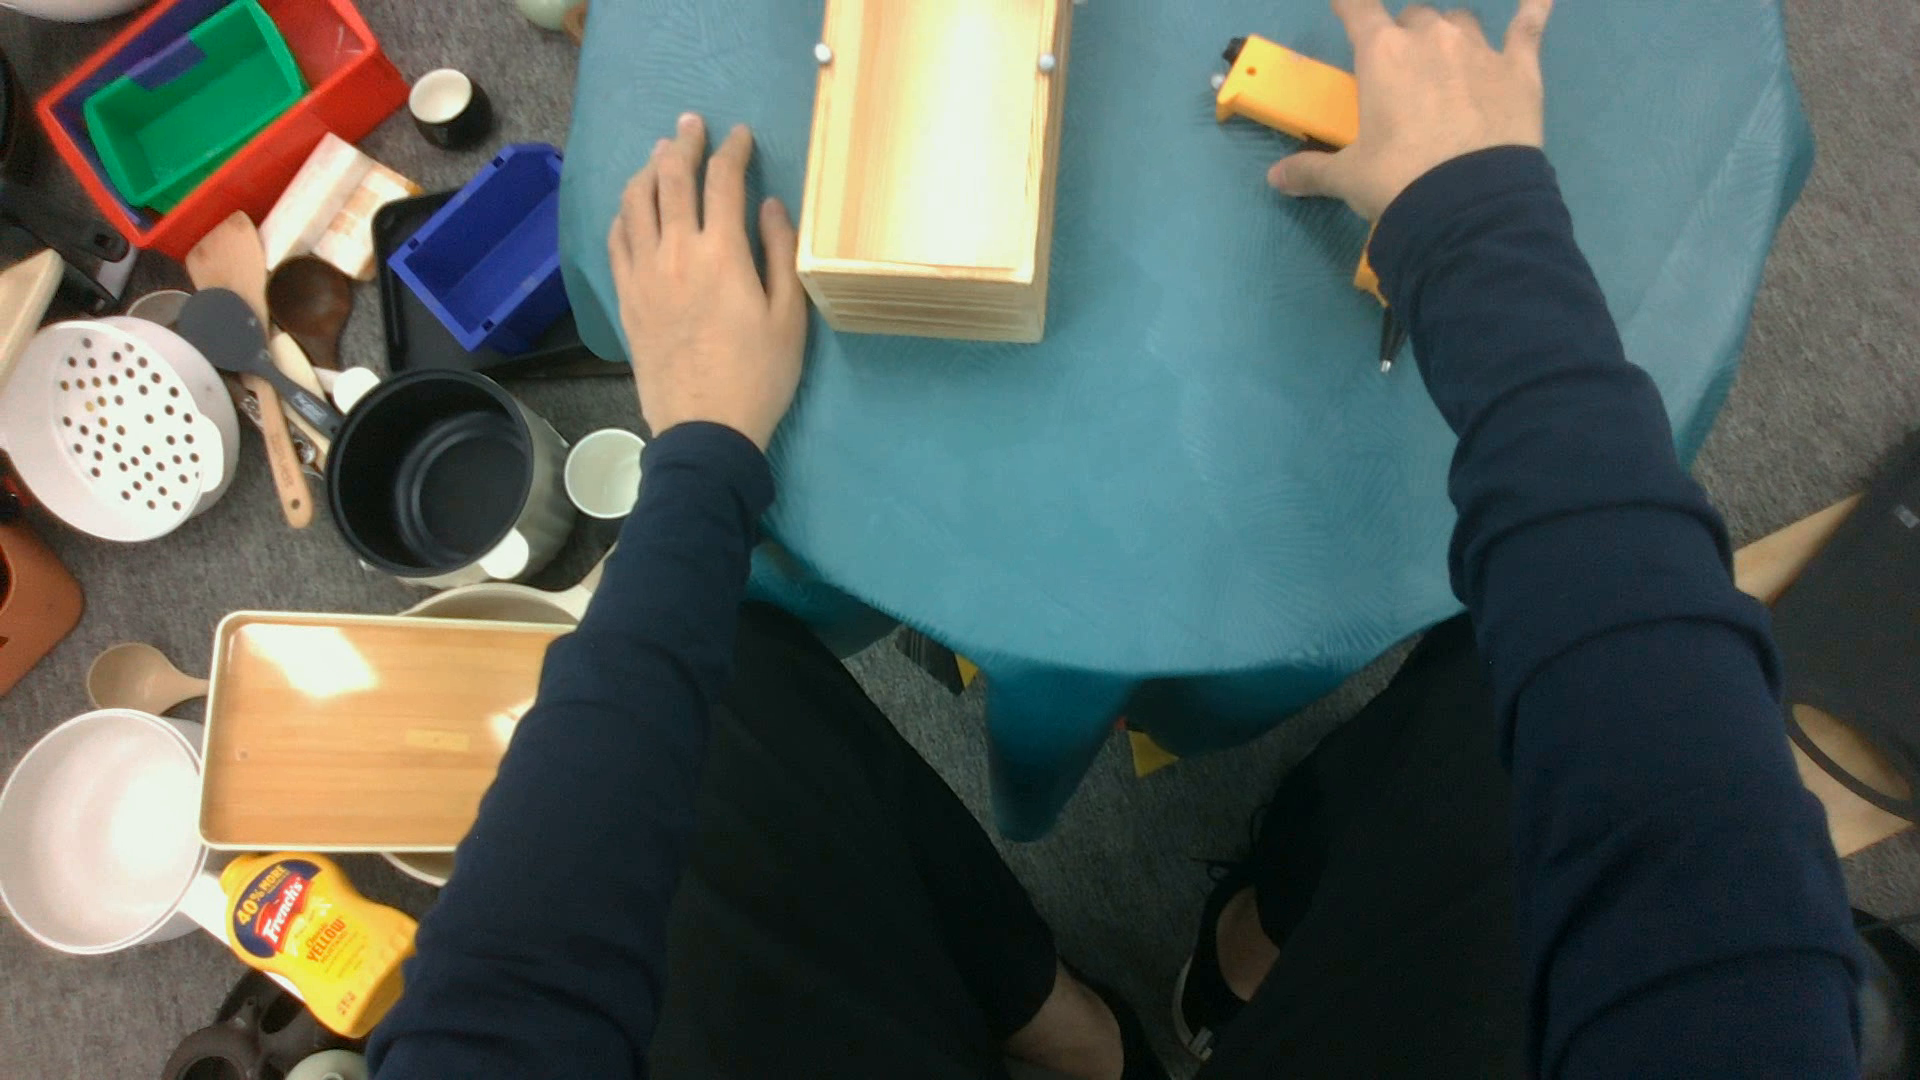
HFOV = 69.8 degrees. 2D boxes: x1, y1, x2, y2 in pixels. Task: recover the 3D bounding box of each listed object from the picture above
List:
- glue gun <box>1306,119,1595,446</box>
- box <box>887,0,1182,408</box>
[{"bbox_3d":[0.221,-0.124,0.662,0.133,0.031,0.151,16,78,13],"label":"glue gun"},{"bbox_3d":[0.042,-0.181,0.679,0.107,0.080,0.212,7,76,12],"label":"box"}]
